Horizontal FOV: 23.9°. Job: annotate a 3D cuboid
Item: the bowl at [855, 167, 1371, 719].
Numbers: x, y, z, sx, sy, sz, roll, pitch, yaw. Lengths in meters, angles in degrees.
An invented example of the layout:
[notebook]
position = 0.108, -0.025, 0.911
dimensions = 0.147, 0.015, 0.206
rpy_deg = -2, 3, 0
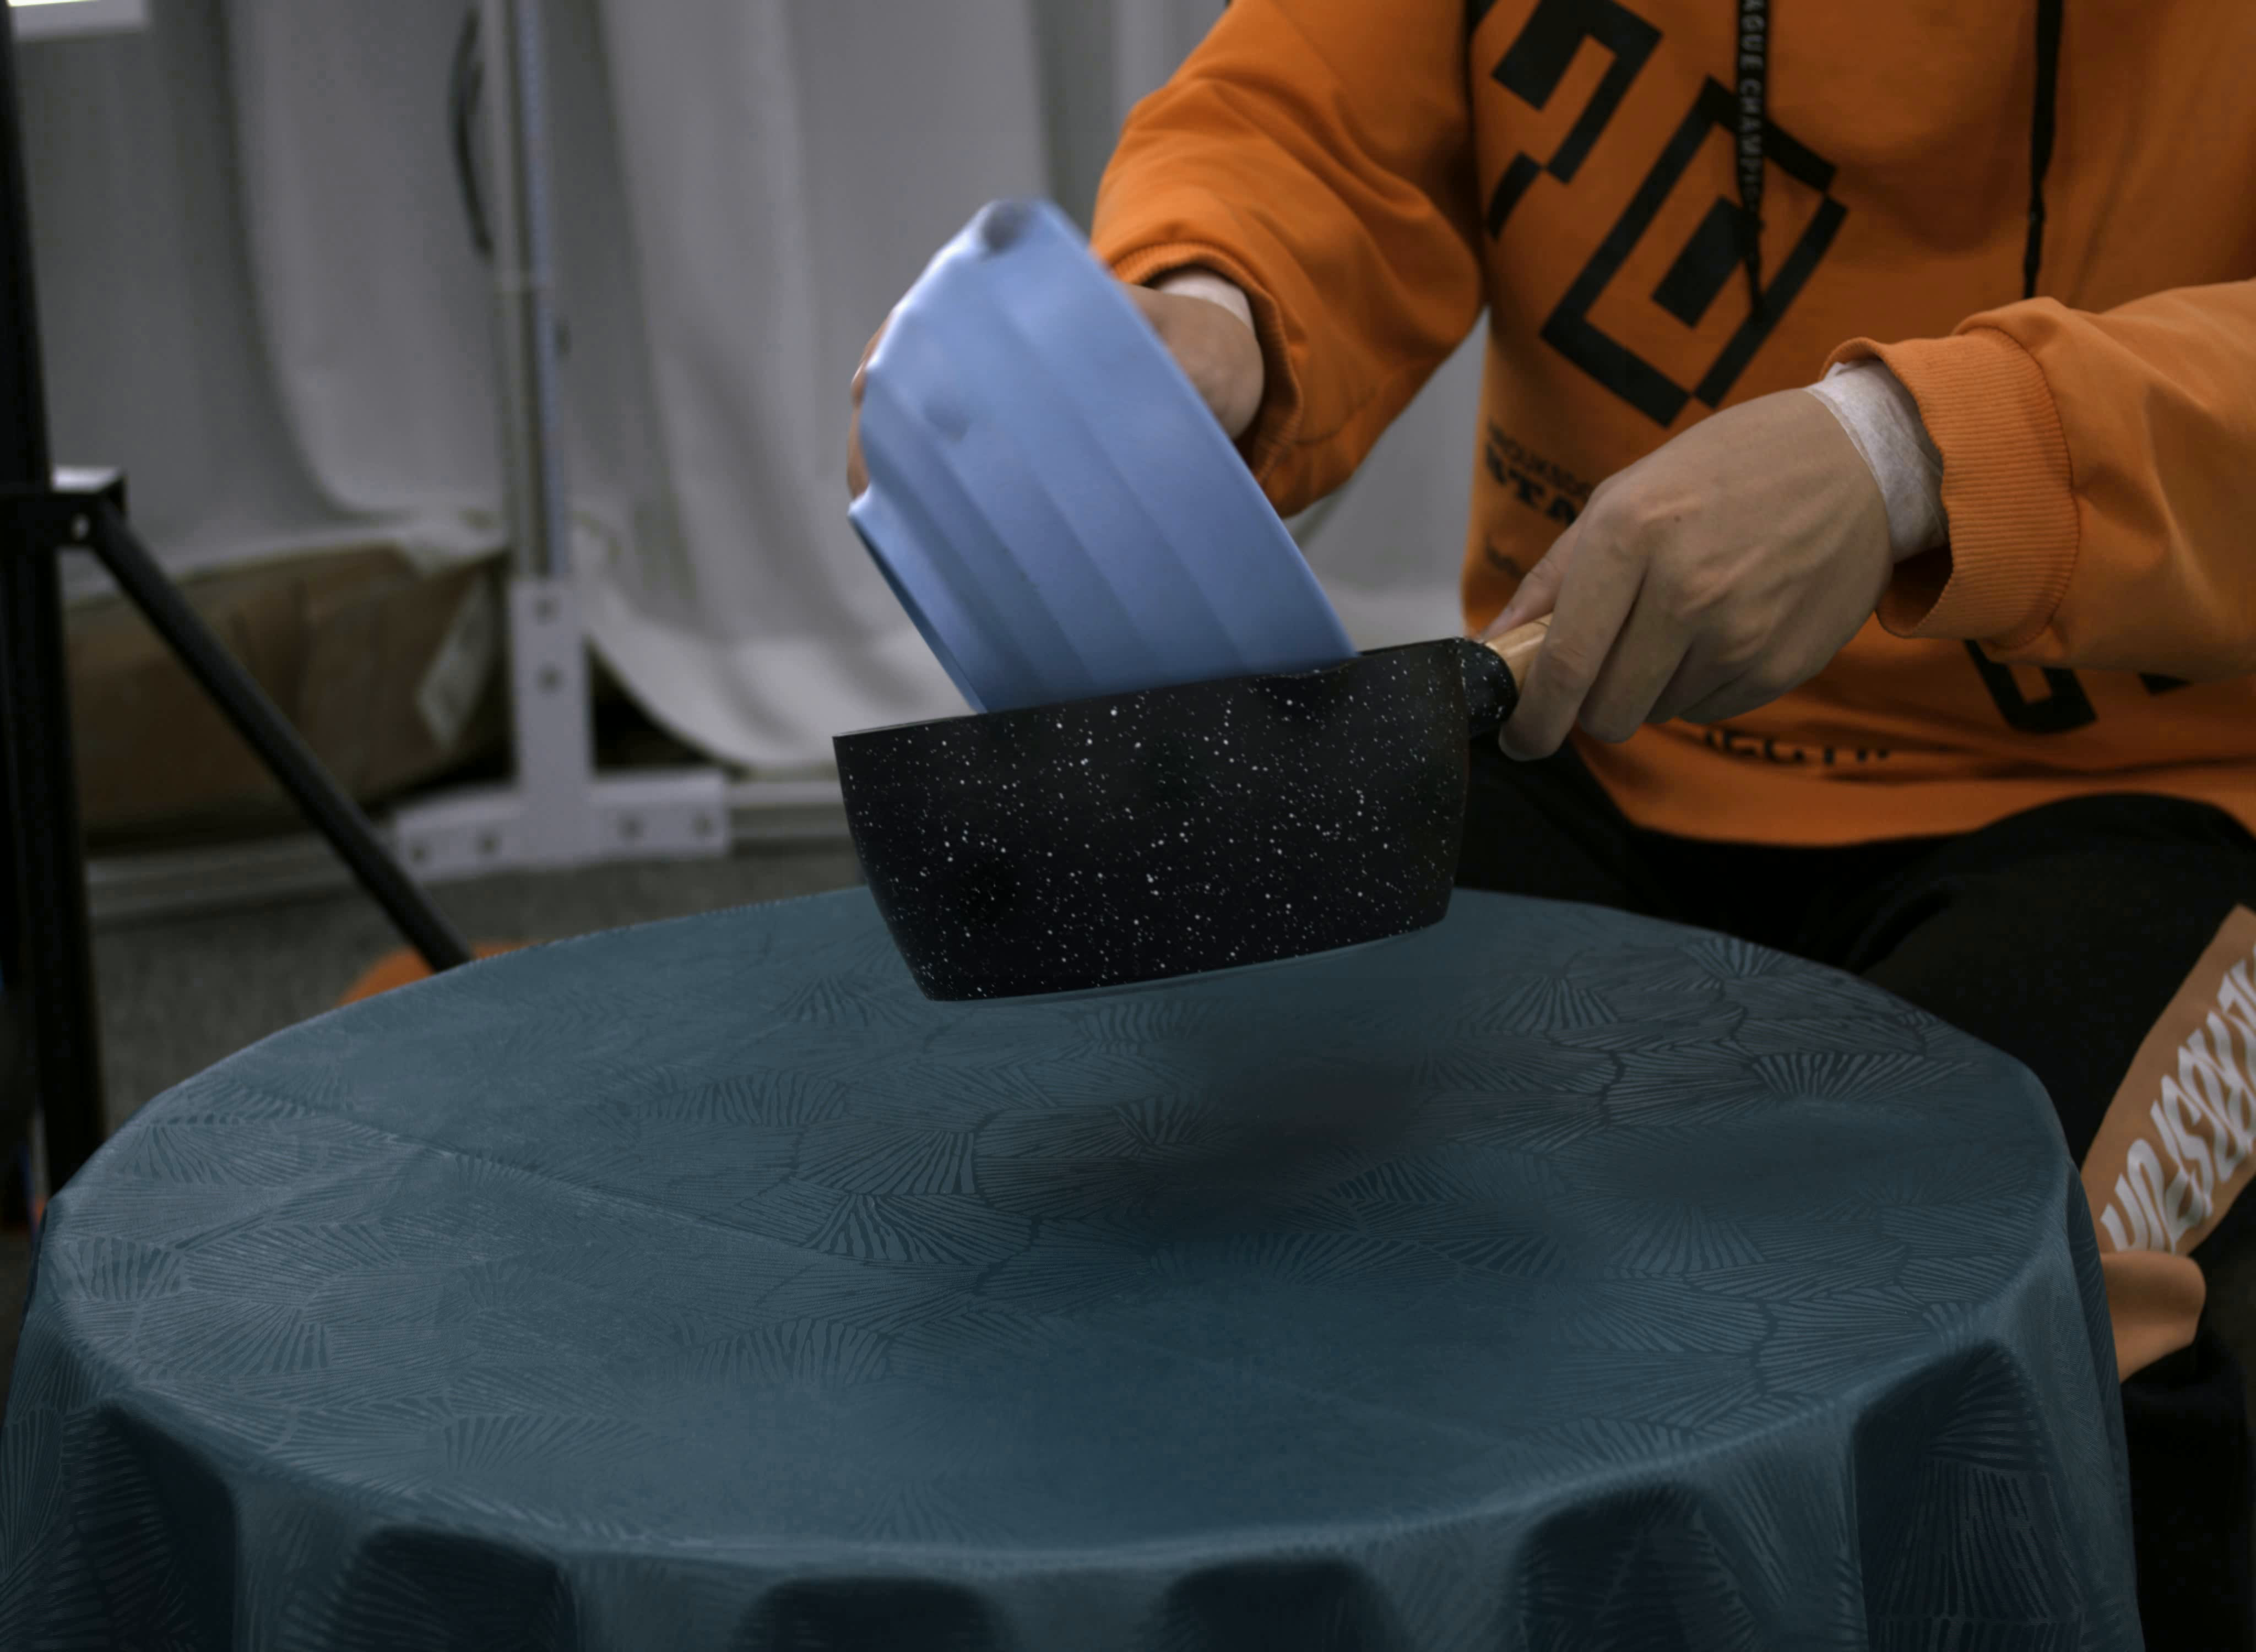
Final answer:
[bowl]
position = -0.016, -0.081, 1.540
dimensions = 0.095, 0.195, 0.199
rpy_deg = -31, 19, -3

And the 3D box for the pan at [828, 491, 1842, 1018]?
[pan]
position = 0.077, -0.022, 1.580
dimensions = 0.335, 0.109, 0.211
rpy_deg = -11, 1, -28
